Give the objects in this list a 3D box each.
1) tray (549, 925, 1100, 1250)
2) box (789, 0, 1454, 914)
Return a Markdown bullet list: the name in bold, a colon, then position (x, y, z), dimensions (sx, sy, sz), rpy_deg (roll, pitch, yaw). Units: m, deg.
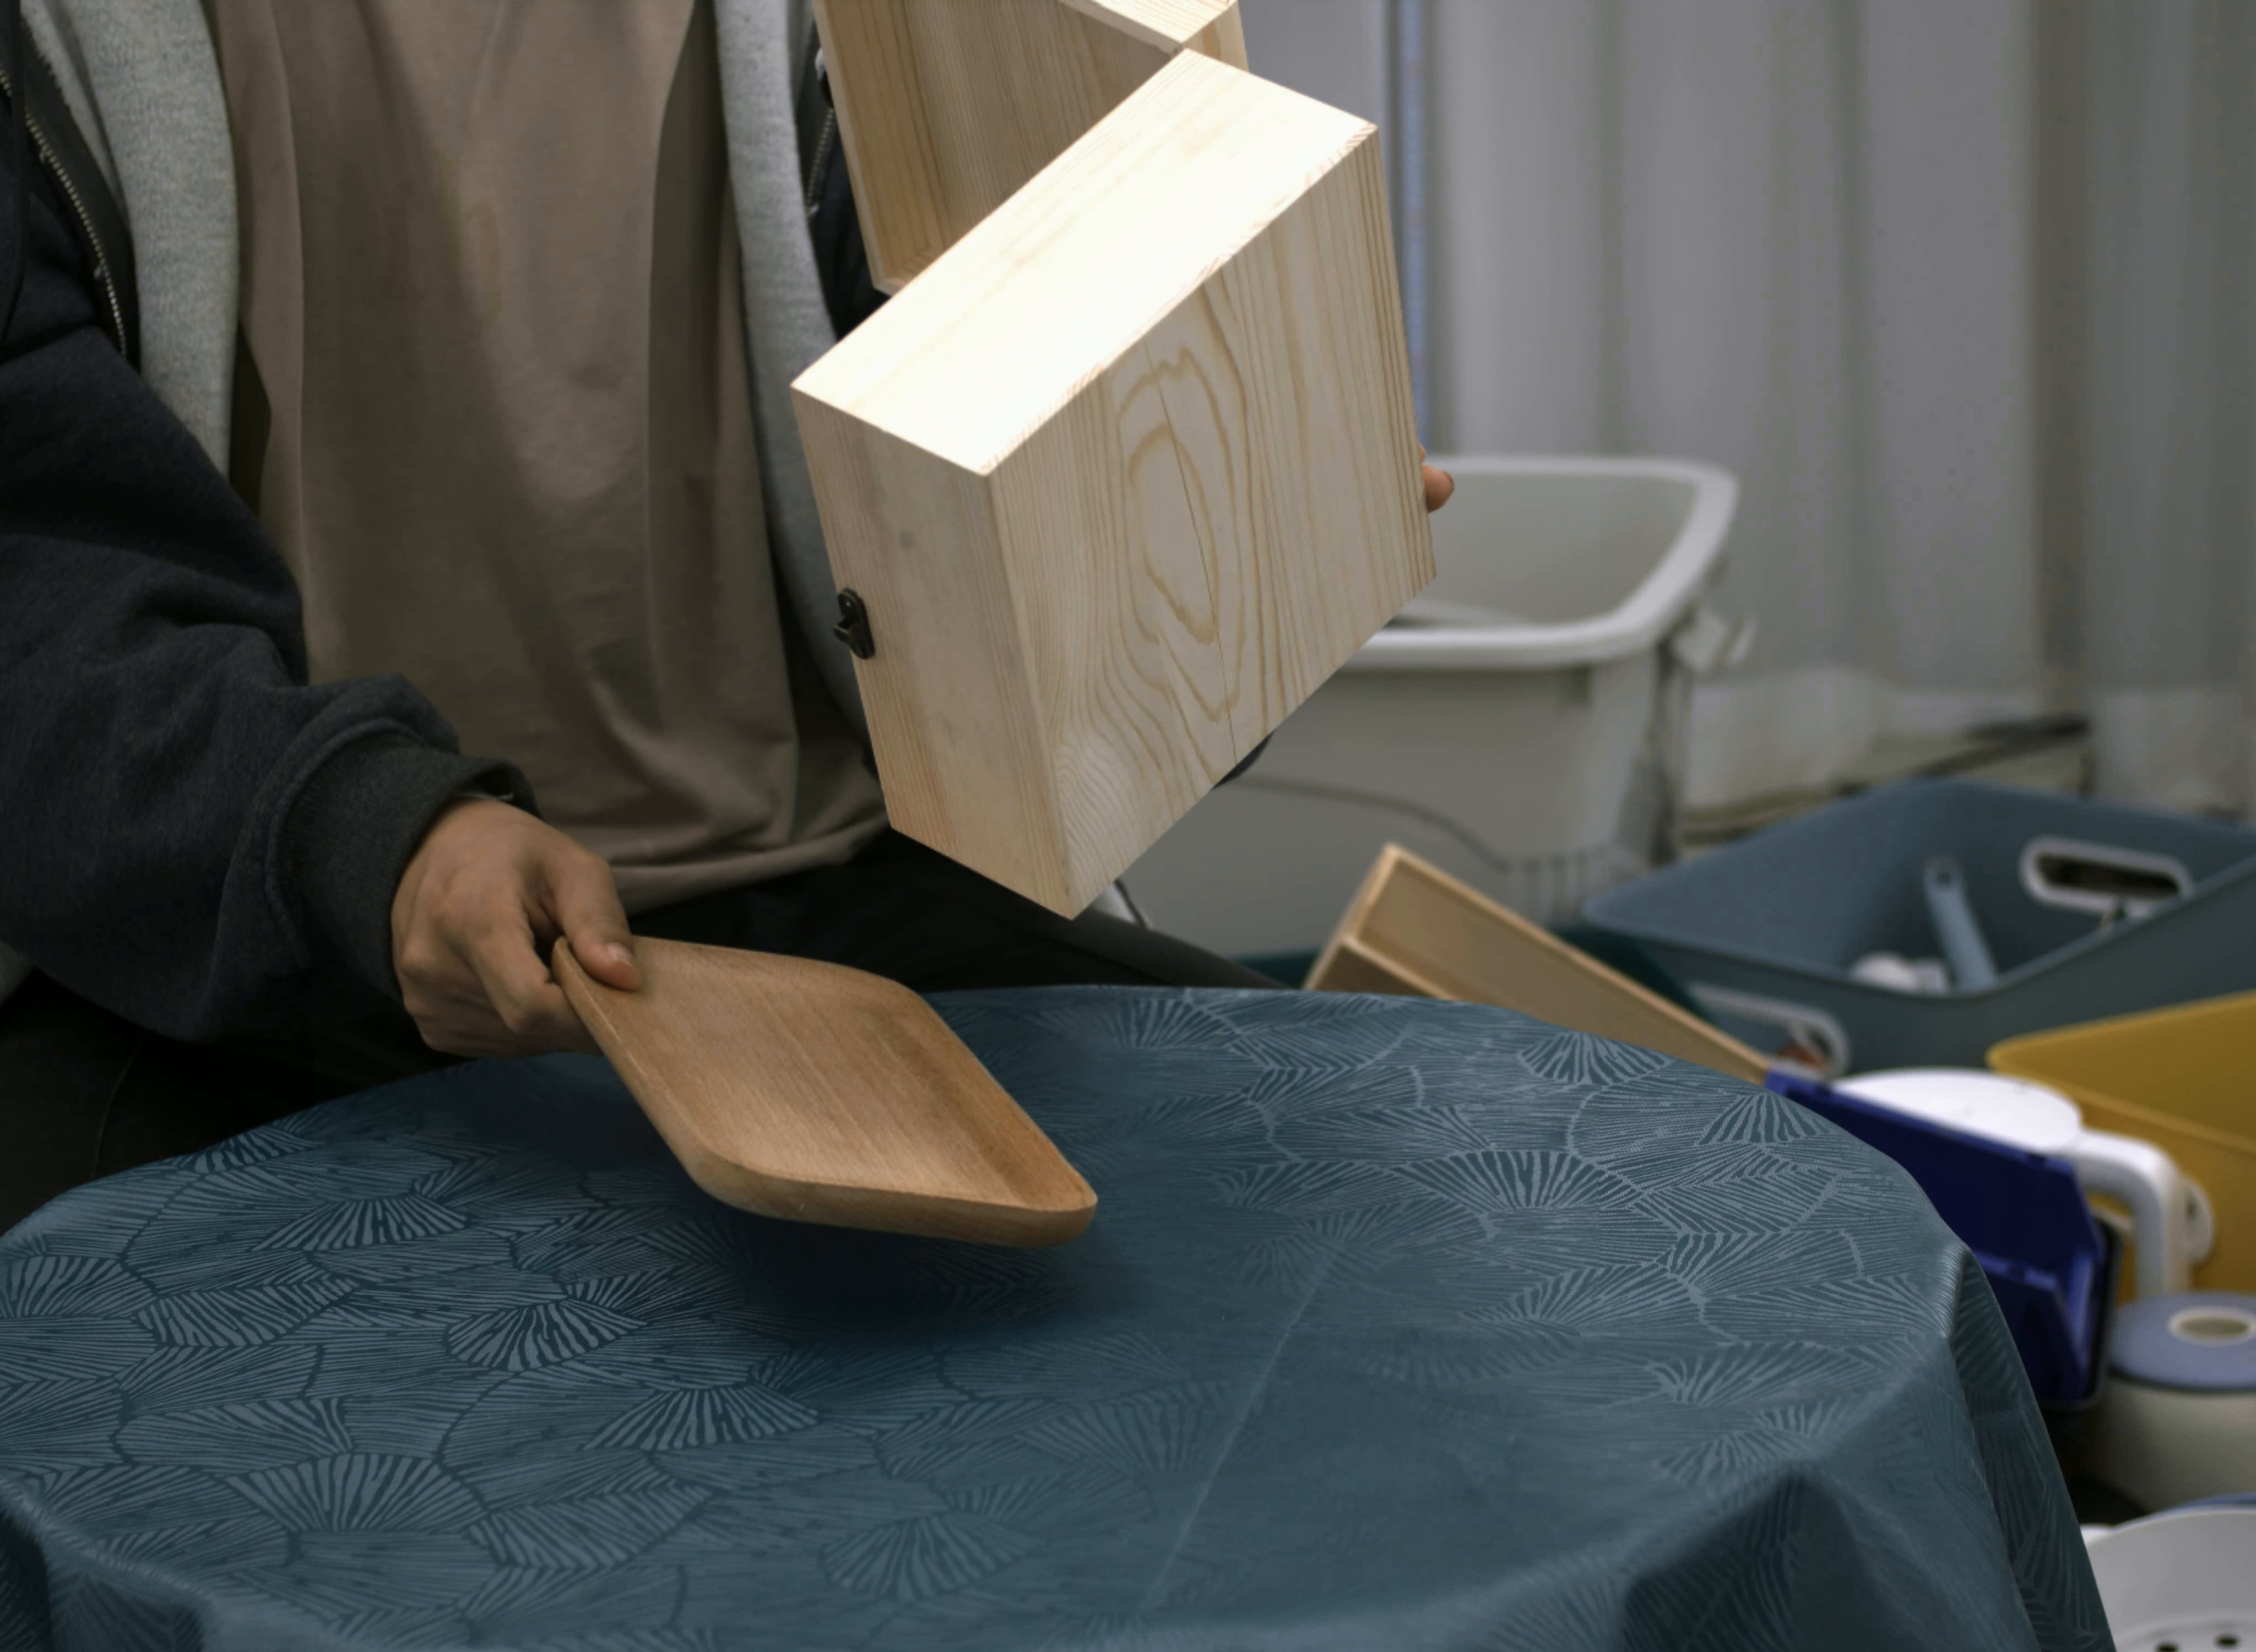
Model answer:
- **tray**: position (-0.099, 0.079, 1.693), dimensions (0.129, 0.023, 0.253), rpy_deg (12, 11, -20)
- **box**: position (-0.040, -0.155, 1.707), dimensions (0.255, 0.179, 0.266), rpy_deg (25, 53, 35)
